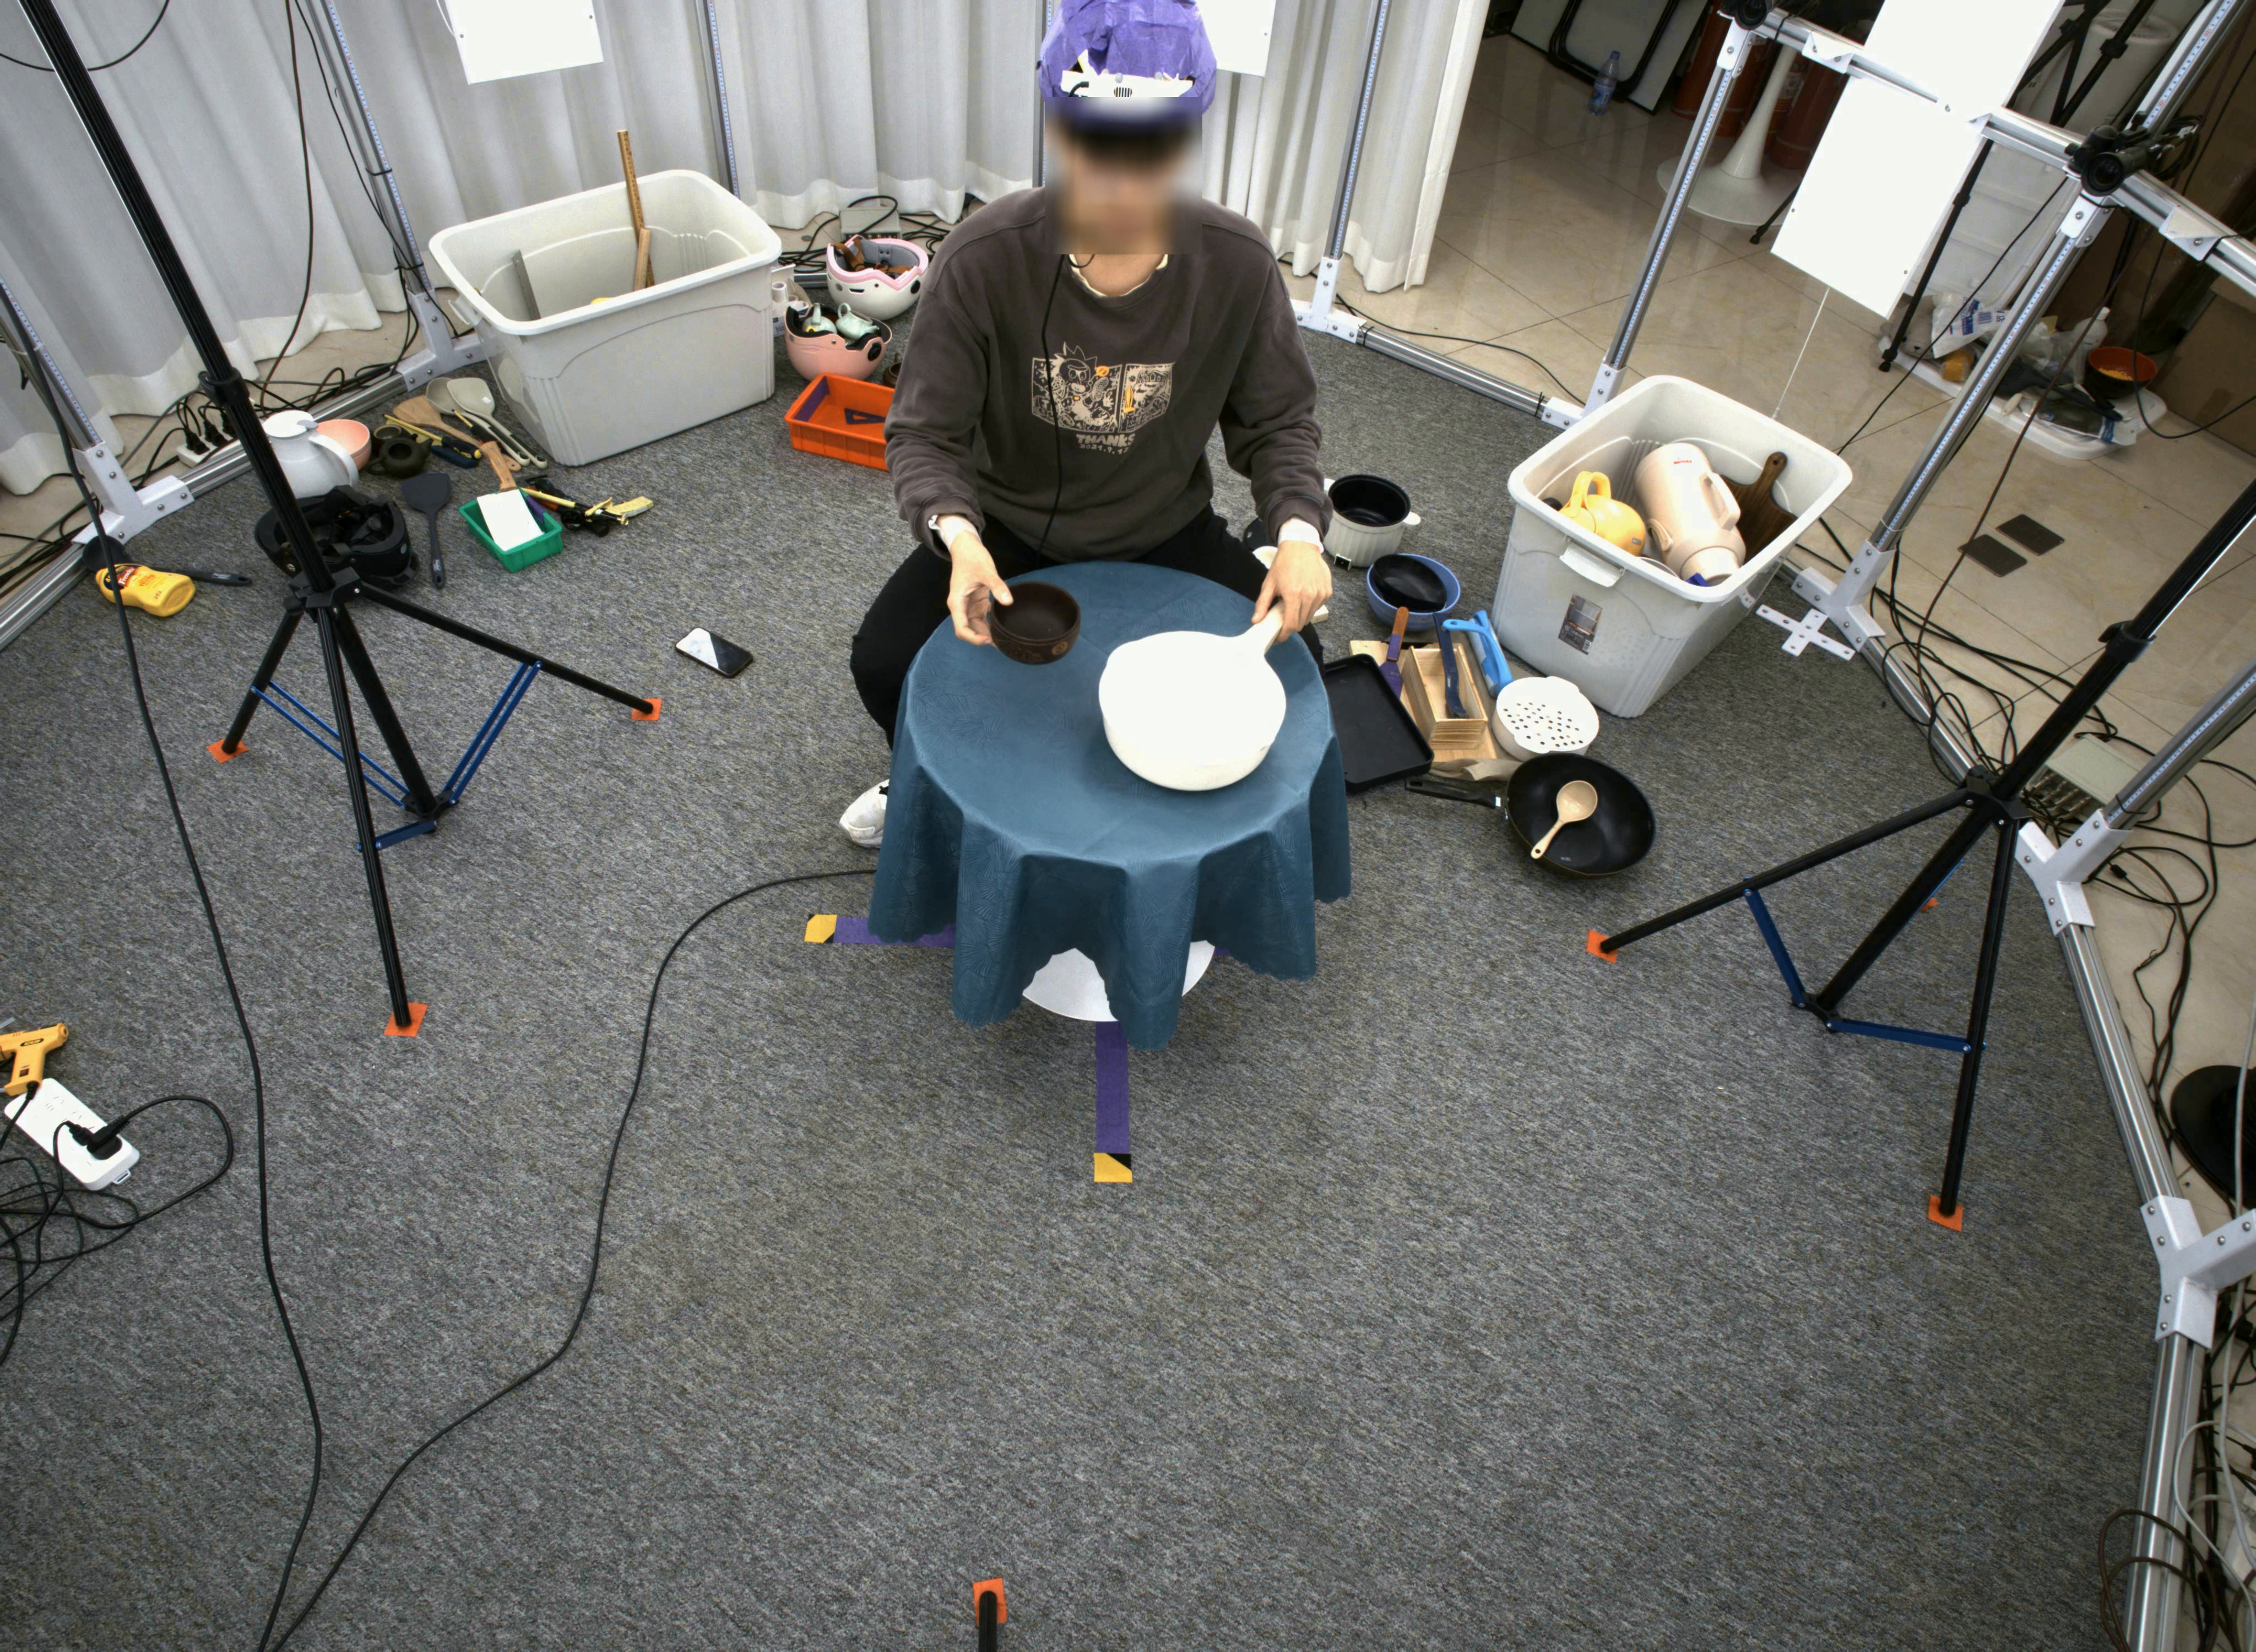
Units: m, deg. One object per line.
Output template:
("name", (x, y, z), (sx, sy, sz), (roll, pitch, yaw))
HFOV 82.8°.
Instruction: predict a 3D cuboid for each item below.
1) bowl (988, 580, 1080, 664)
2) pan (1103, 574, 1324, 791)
("bowl", (-0.122, -0.255, 1.662), (0.118, 0.068, 0.121), (3, 47, -3))
("pan", (0.147, -0.207, 1.791), (0.266, 0.099, 0.440), (31, 53, 24))
